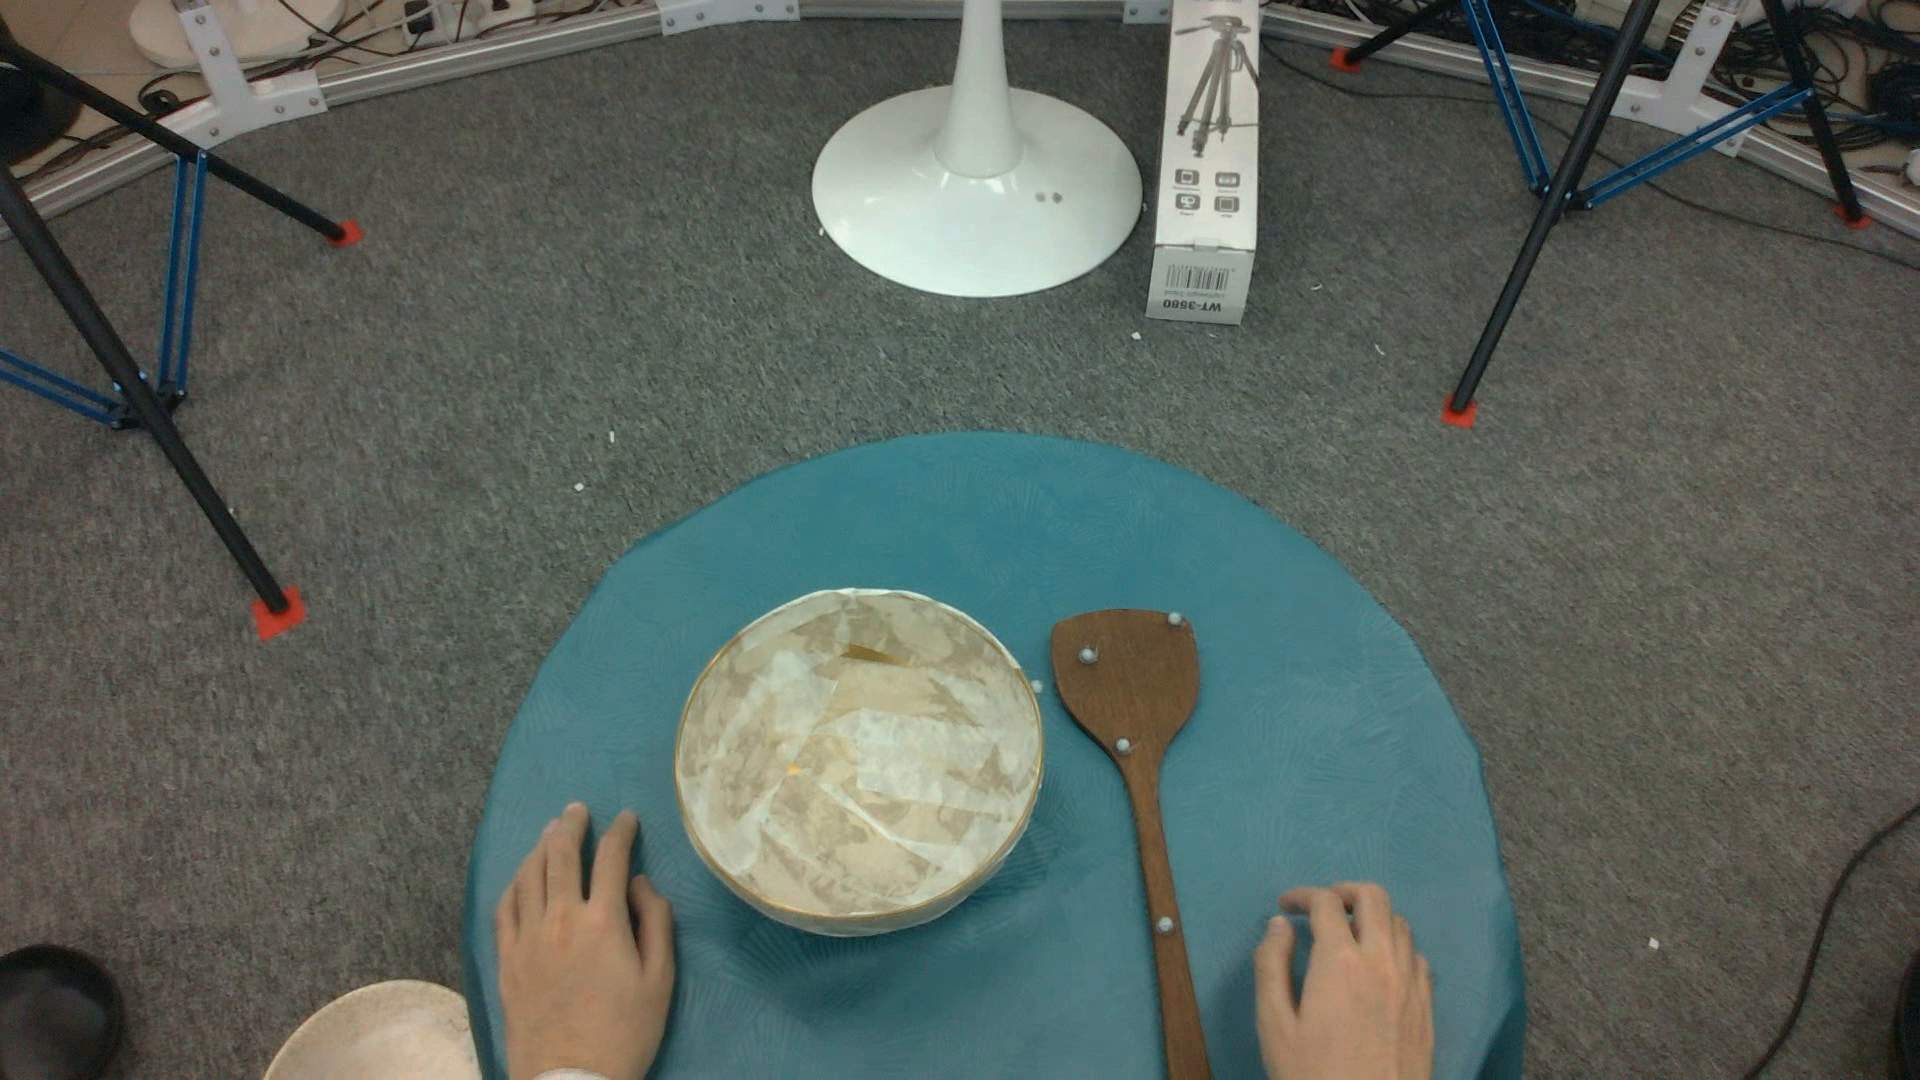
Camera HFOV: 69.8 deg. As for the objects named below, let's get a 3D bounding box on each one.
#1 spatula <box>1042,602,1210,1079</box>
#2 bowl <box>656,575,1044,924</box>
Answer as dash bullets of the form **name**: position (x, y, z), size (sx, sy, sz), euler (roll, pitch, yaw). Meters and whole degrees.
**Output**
- **spatula**: position (0.111, 0.196, 0.779), size (0.096, 0.016, 0.387), euler (-2, 53, -4)
- **bowl**: position (-0.062, 0.130, 0.773), size (0.215, 0.094, 0.215), euler (2, 53, -2)
